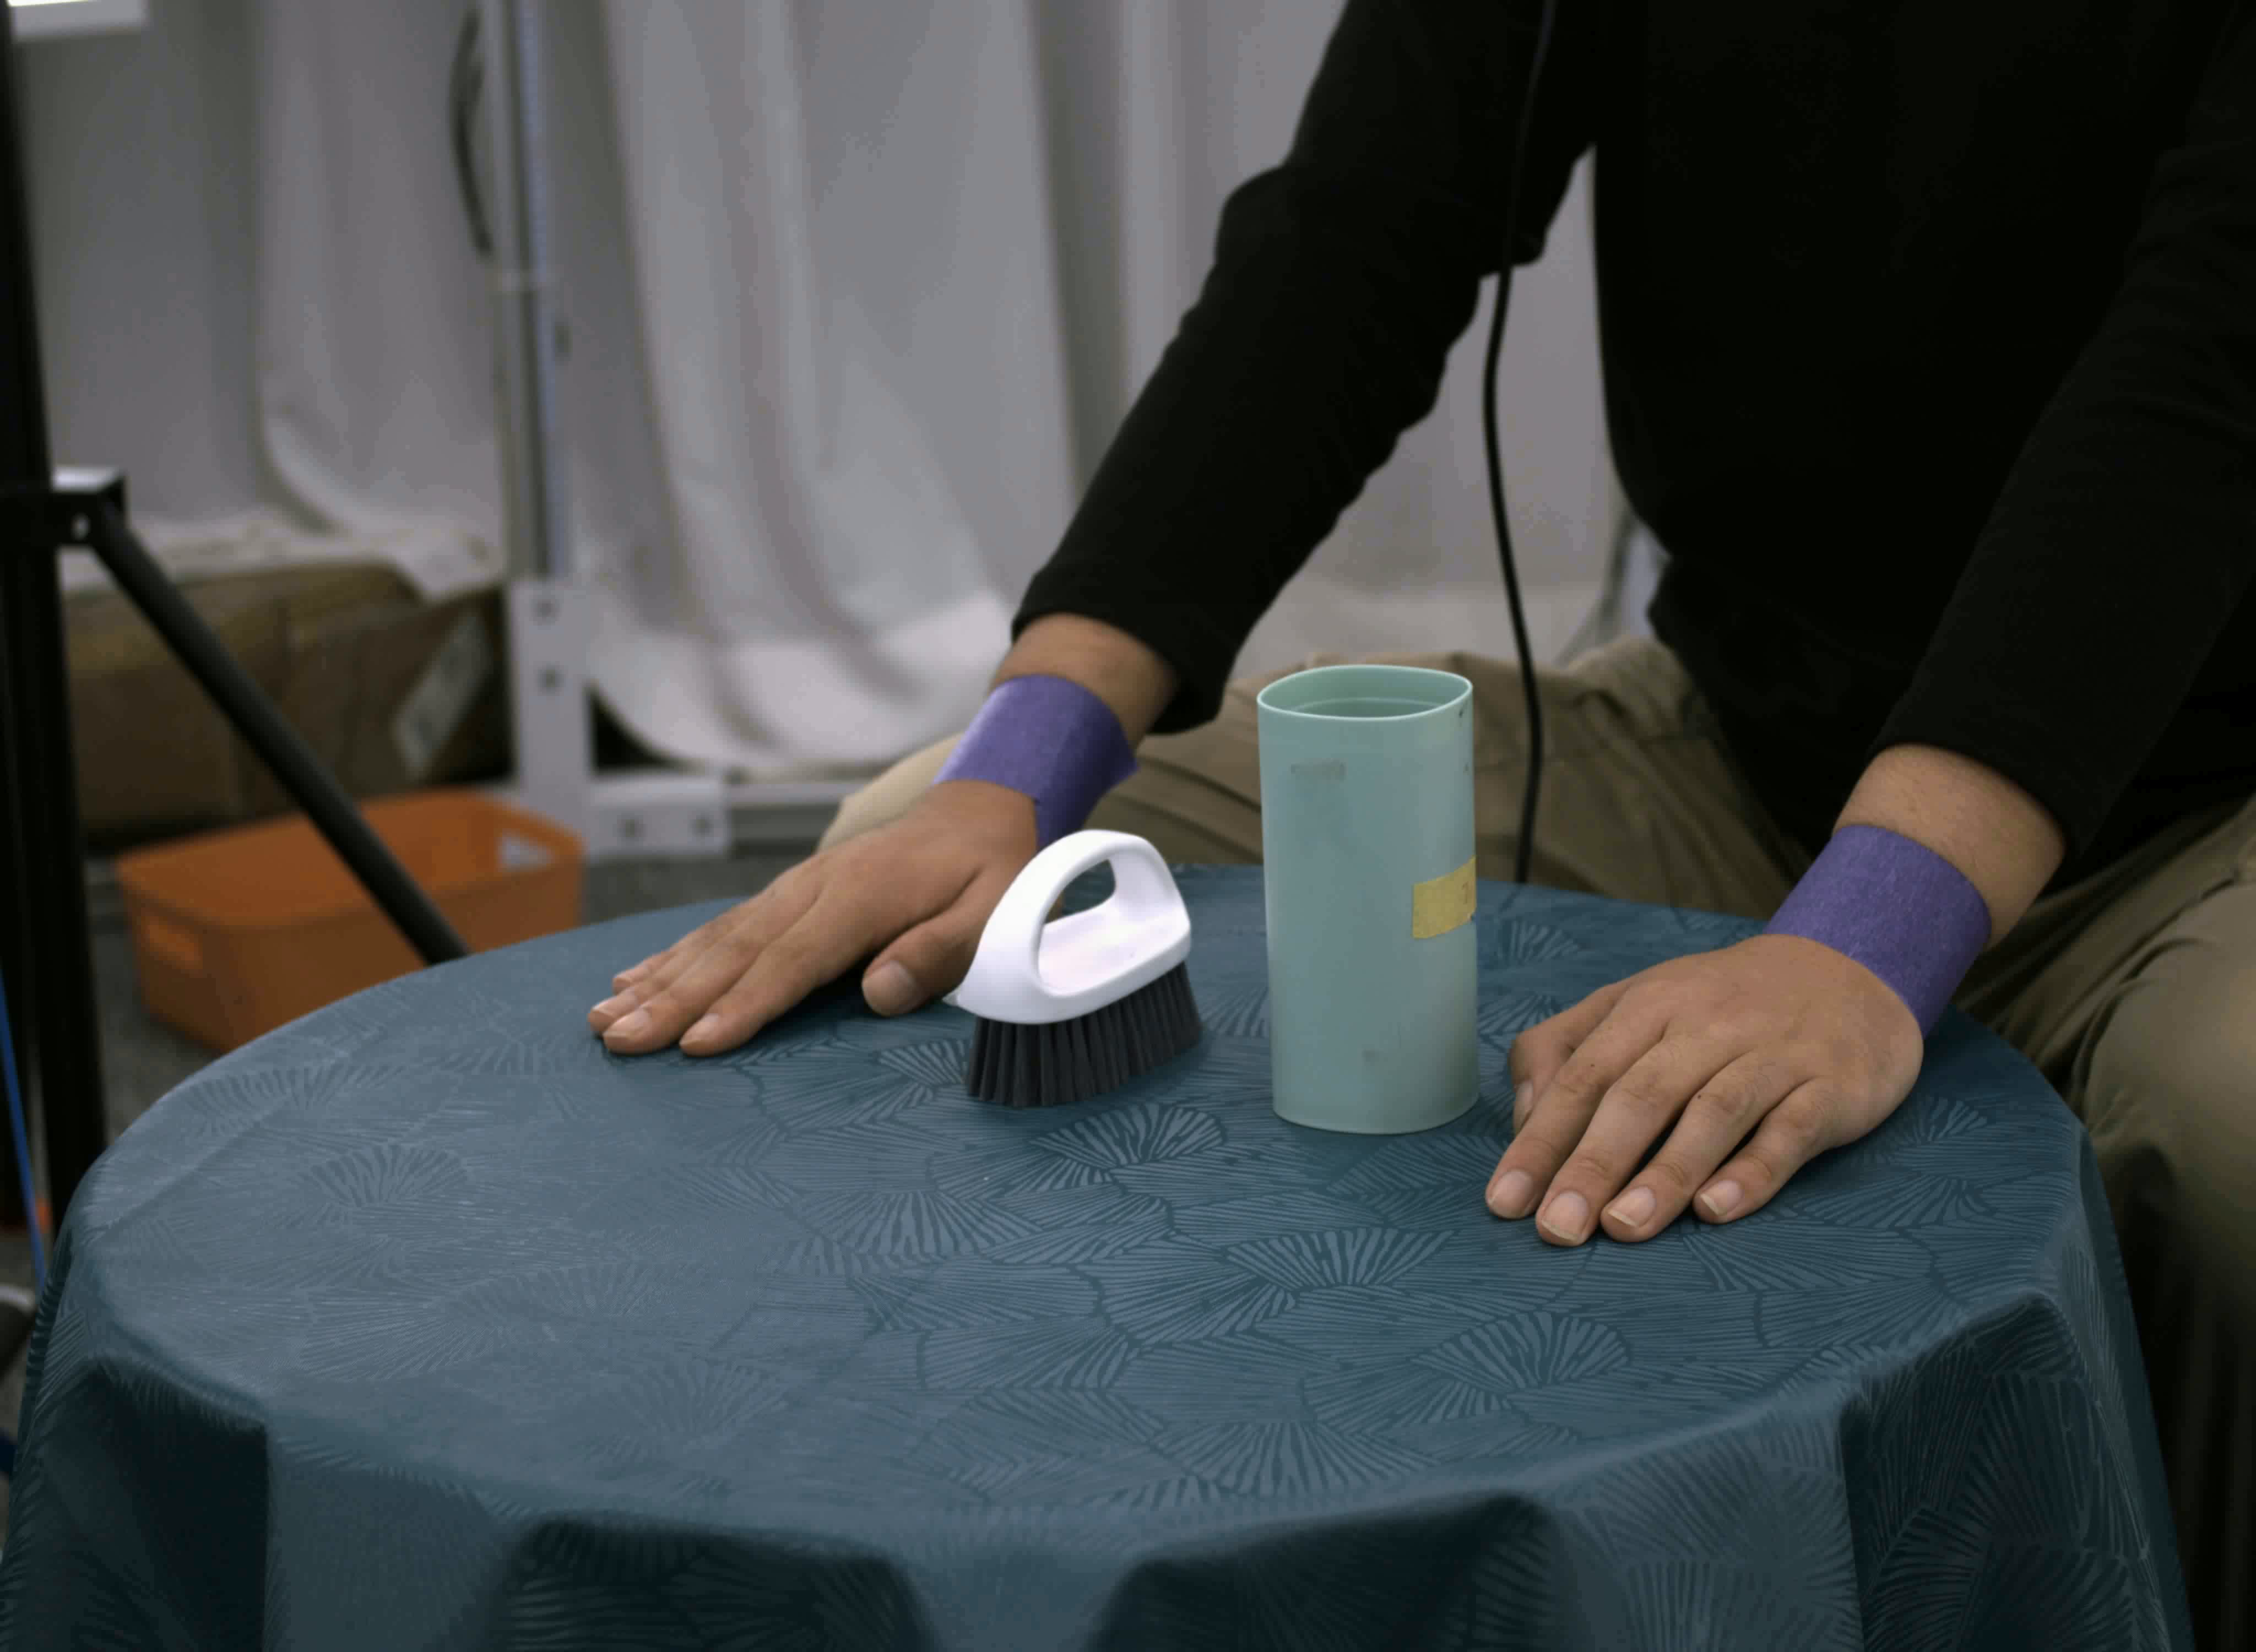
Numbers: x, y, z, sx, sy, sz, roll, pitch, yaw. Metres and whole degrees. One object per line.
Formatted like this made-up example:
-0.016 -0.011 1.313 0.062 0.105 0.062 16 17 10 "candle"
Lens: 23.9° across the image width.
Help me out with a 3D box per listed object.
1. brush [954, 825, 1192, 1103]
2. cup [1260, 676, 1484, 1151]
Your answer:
-0.017 0.038 1.674 0.051 0.072 0.097 9 20 32 "brush"
0.074 0.026 1.612 0.066 0.132 0.067 -3 15 -1 "cup"
